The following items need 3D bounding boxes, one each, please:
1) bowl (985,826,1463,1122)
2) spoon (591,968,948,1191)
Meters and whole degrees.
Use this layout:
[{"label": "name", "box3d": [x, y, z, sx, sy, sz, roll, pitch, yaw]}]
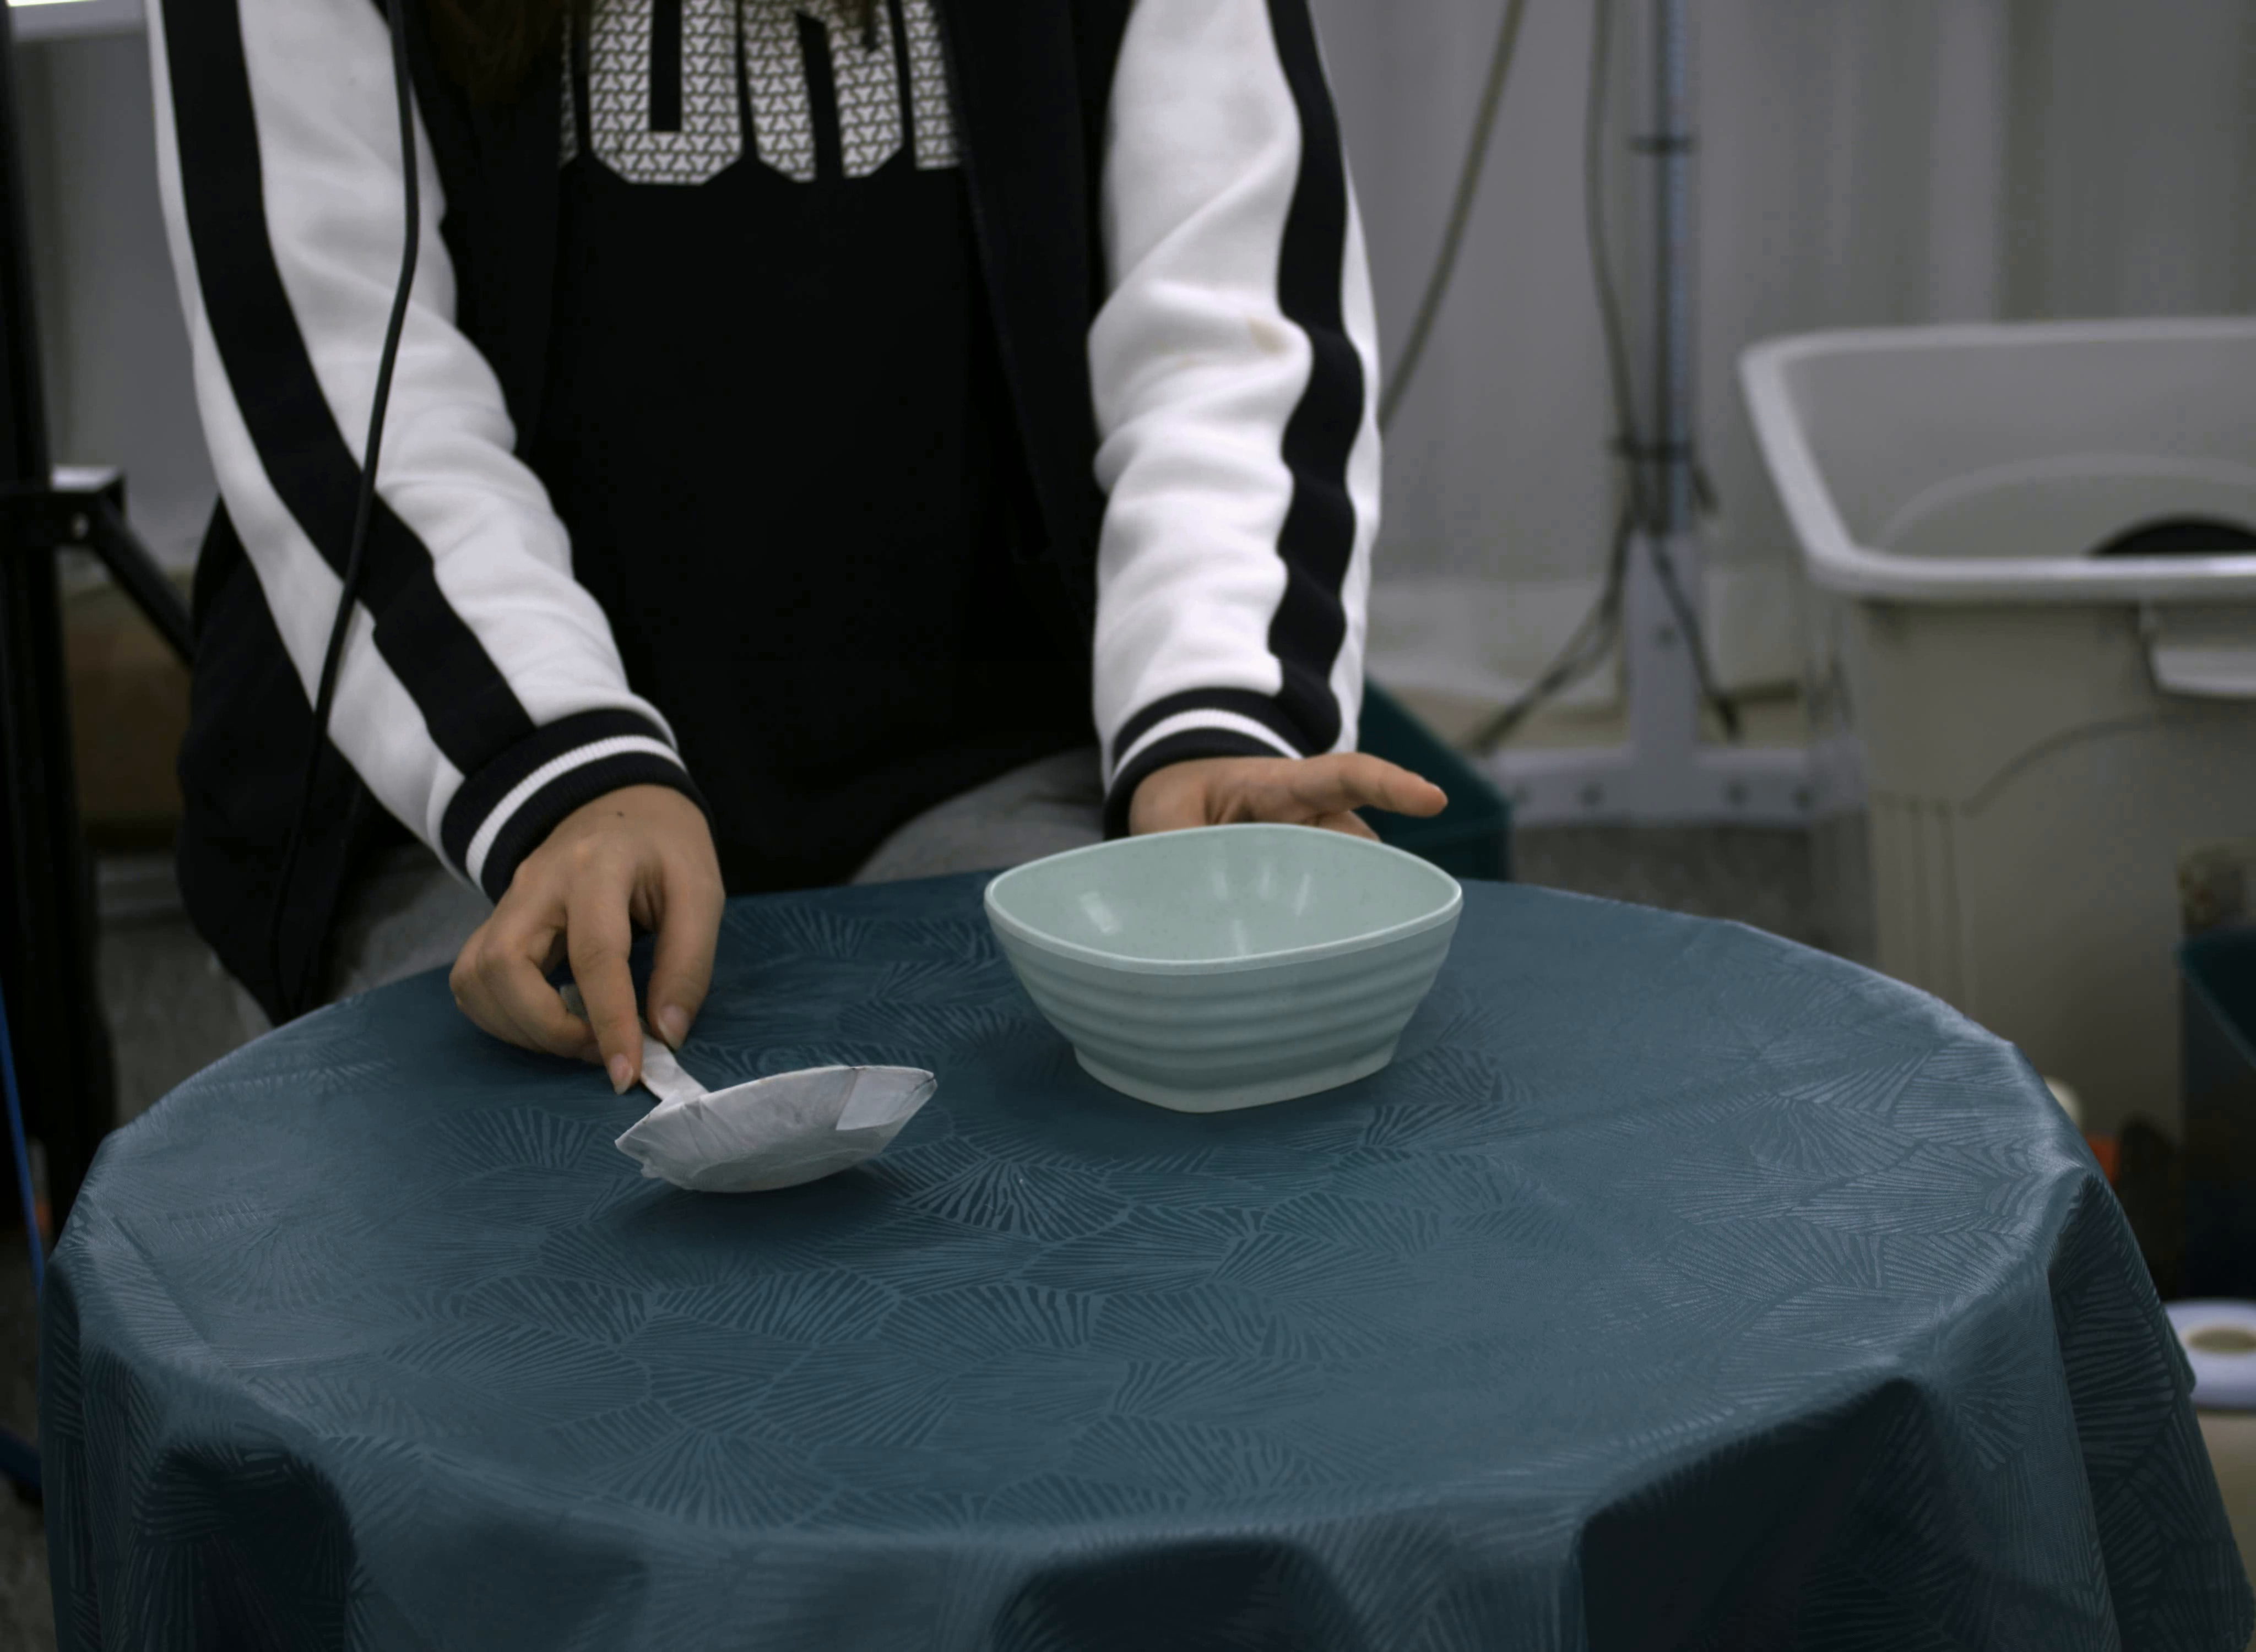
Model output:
[{"label": "bowl", "box3d": [0.031, 0.049, 1.662, 0.151, 0.058, 0.152, -3, 16, 0]}, {"label": "spoon", "box3d": [-0.127, 0.060, 1.646, 0.099, 0.059, 0.281, -2, 15, -16]}]
